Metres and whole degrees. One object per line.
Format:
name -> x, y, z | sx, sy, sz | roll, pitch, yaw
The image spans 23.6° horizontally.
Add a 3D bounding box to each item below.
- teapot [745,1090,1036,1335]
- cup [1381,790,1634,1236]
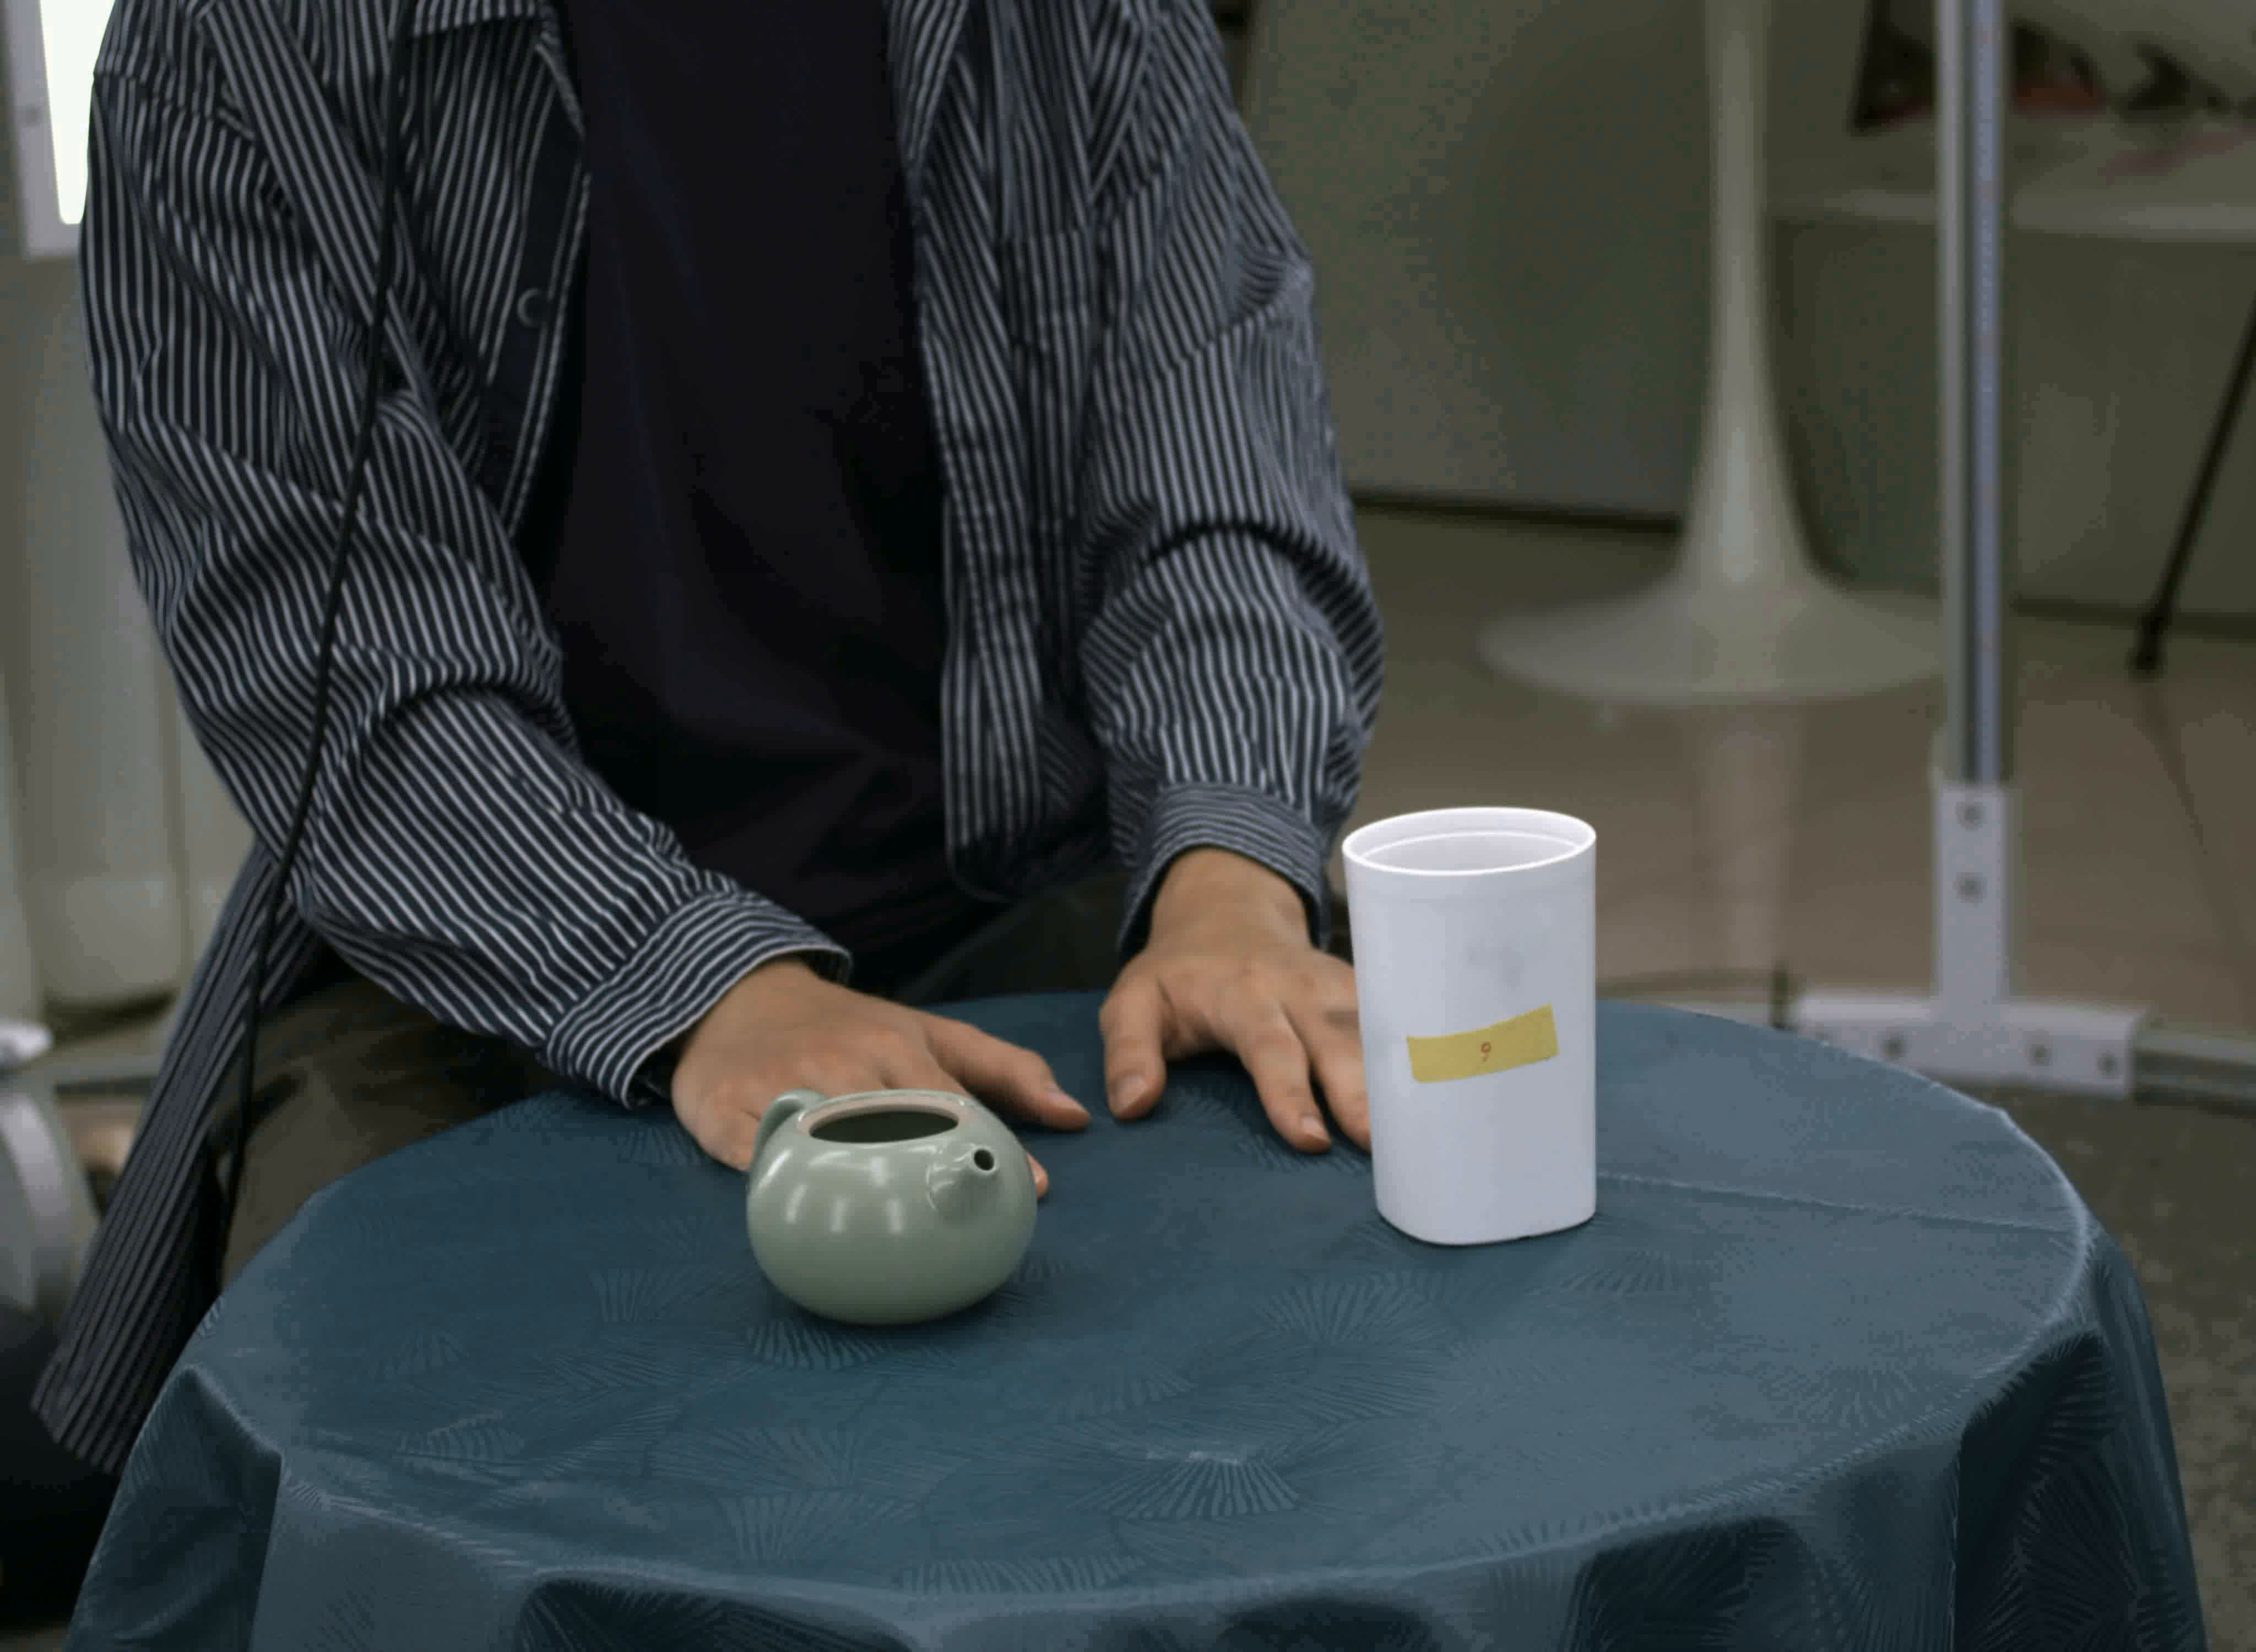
teapot -> -0.079, 0.118, 1.681 | 0.089, 0.061, 0.130 | -14, 16, -30
cup -> 0.123, 0.060, 1.709 | 0.080, 0.127, 0.082 | -4, 13, 0
